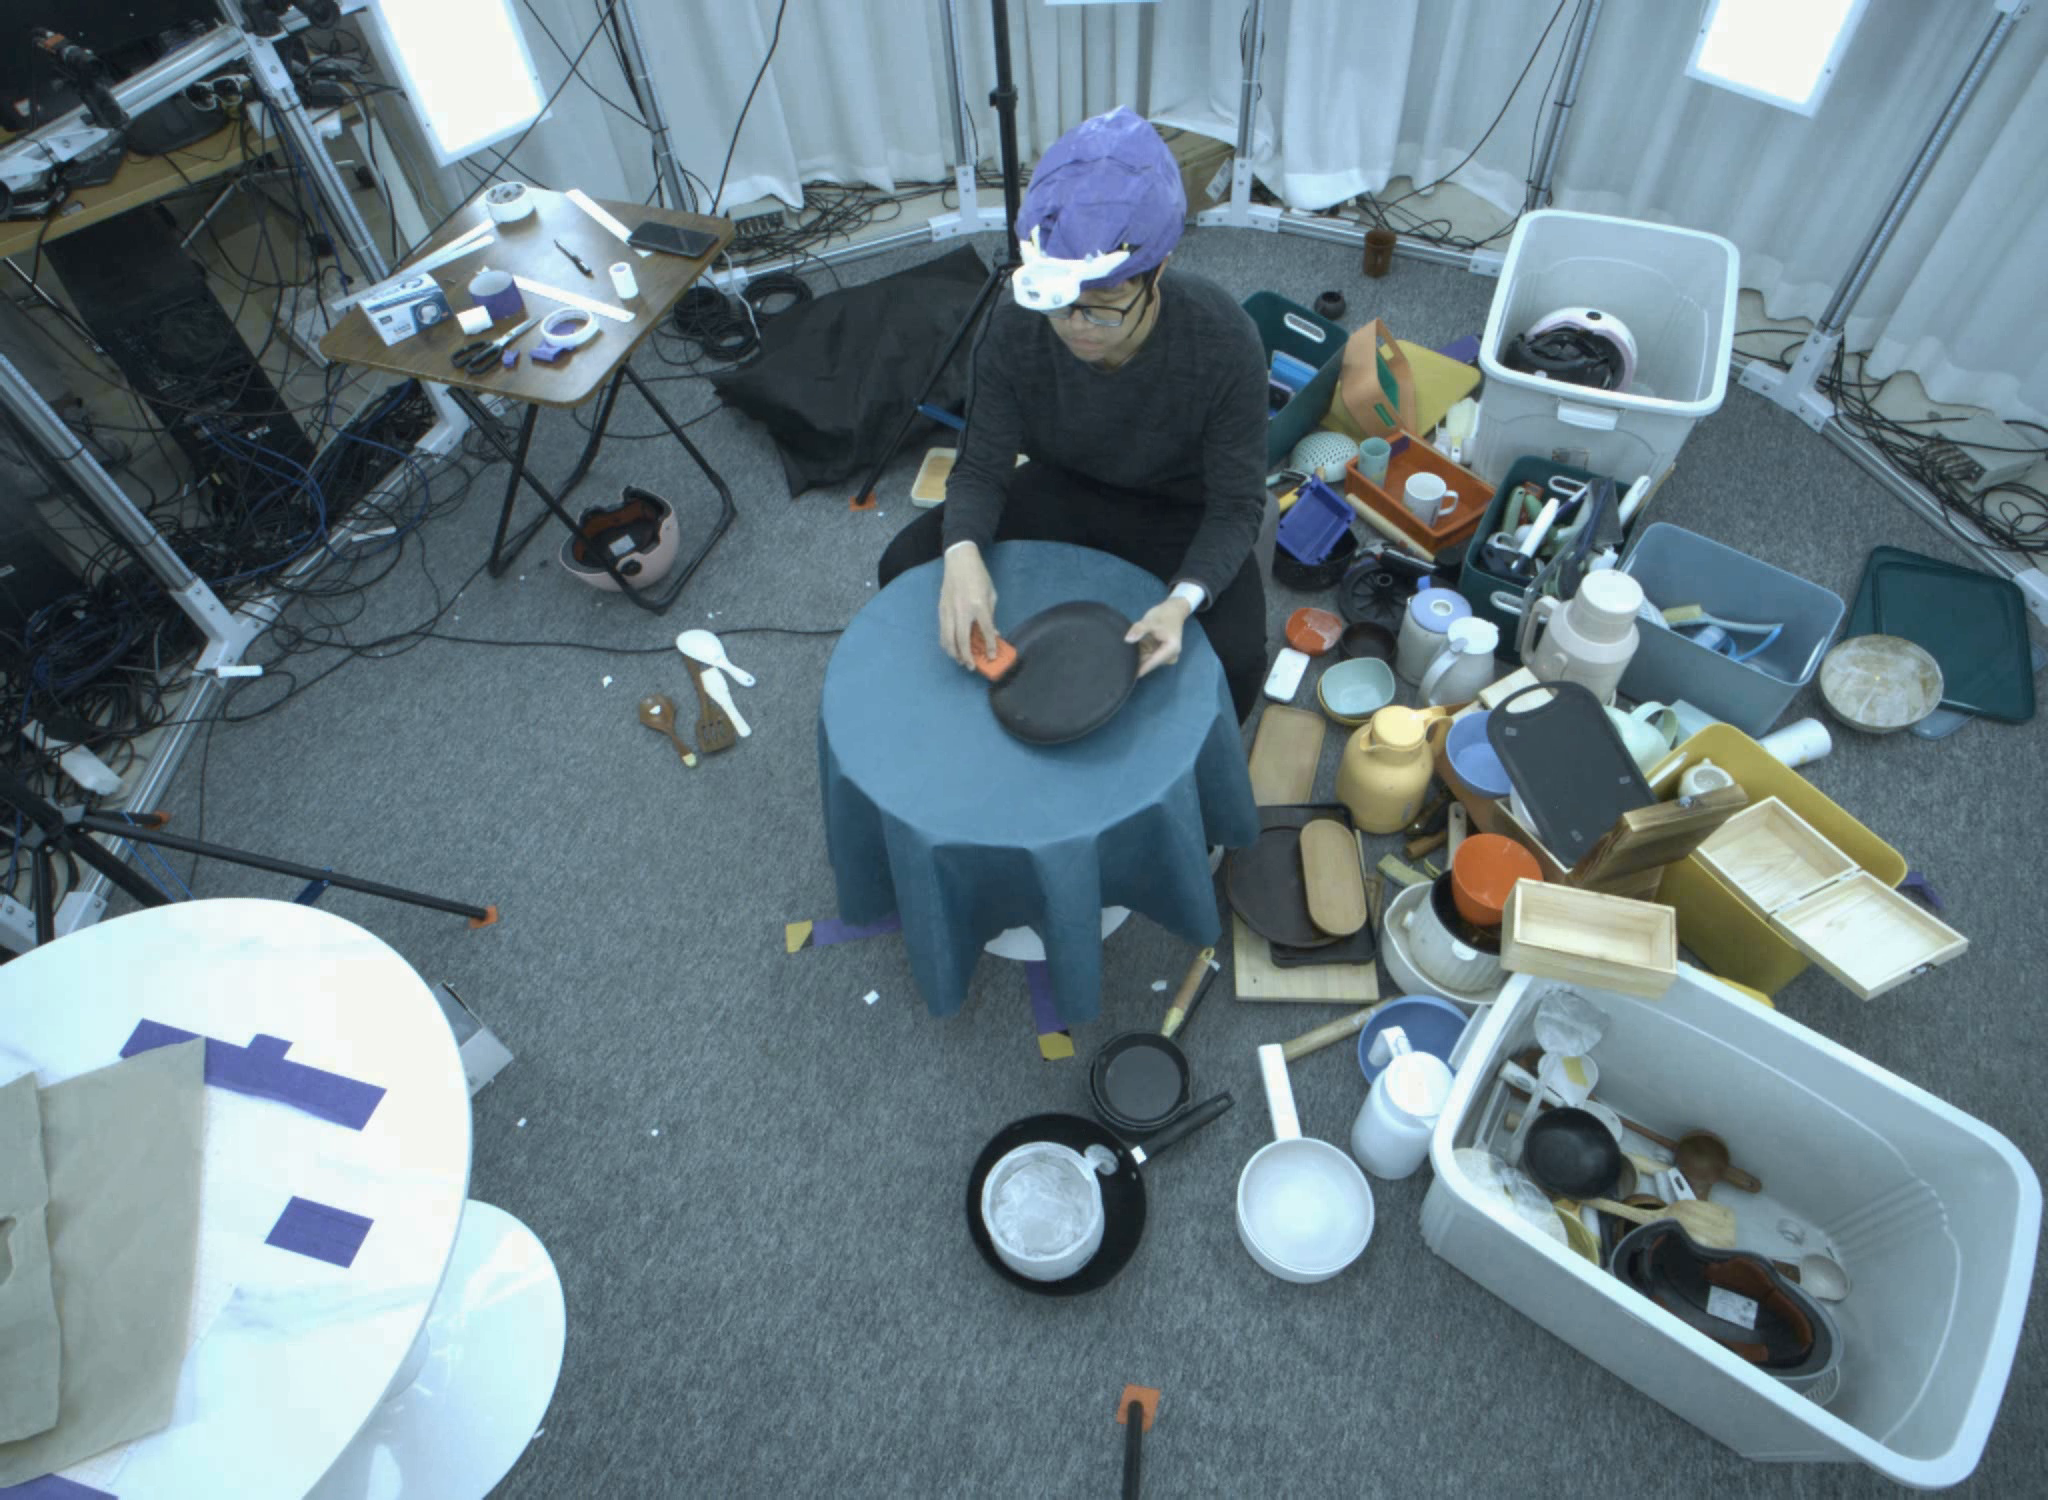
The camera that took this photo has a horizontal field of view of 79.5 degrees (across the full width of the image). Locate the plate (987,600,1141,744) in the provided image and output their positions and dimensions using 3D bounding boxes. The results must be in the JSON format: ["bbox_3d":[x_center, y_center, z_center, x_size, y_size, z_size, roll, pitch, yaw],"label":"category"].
[{"bbox_3d":[0.060,-0.113,1.813,0.241,0.024,0.242,-10,60,20],"label":"plate"}]

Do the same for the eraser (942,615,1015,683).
[{"bbox_3d":[-0.069,-0.153,1.855,0.107,0.023,0.059,38,73,15],"label":"eraser"}]
